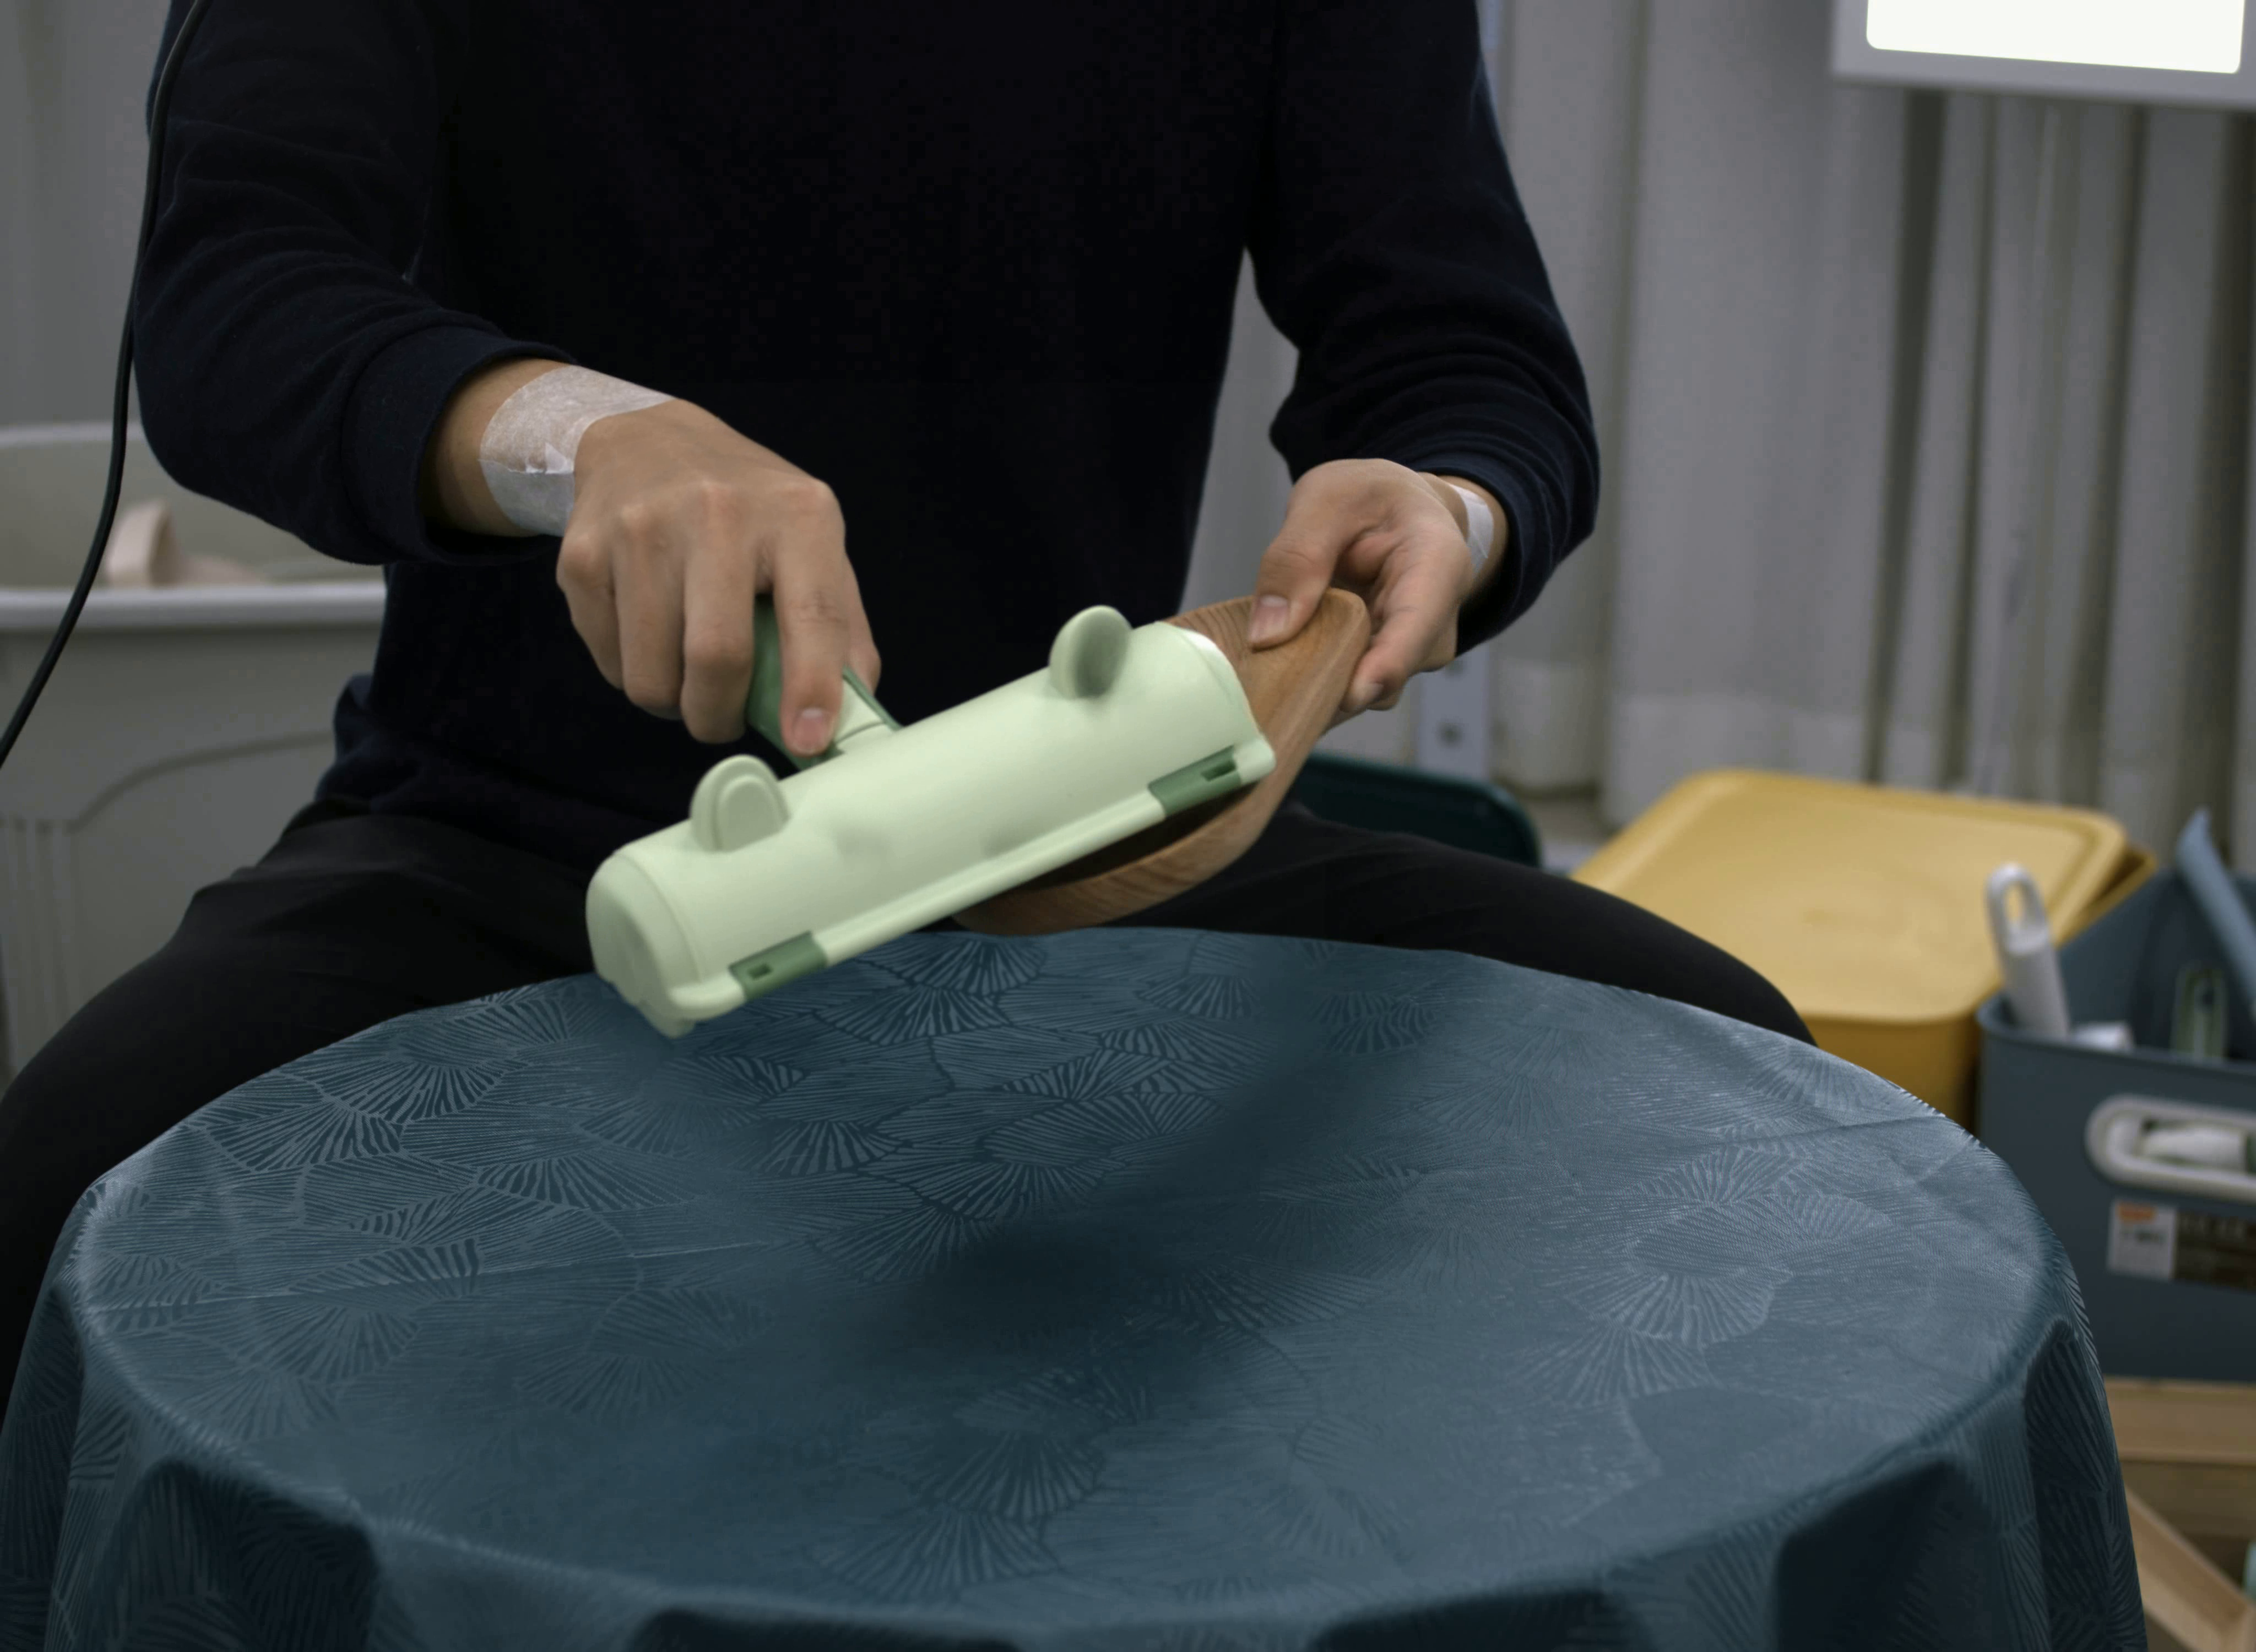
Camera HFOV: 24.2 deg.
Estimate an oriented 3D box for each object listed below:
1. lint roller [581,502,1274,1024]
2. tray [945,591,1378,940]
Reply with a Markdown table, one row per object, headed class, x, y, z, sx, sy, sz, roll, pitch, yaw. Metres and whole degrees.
| class | x | y | z | sx | sy | sz | roll | pitch | yaw |
| --- | --- | --- | --- | --- | --- | --- | --- | --- | --- |
| lint roller | -0.085 | -0.047 | 1.476 | 0.199 | 0.083 | 0.181 | -24 | 60 | -26 |
| tray | 0.012 | -0.020 | 1.545 | 0.101 | 0.020 | 0.230 | -14 | 20 | 20 |
